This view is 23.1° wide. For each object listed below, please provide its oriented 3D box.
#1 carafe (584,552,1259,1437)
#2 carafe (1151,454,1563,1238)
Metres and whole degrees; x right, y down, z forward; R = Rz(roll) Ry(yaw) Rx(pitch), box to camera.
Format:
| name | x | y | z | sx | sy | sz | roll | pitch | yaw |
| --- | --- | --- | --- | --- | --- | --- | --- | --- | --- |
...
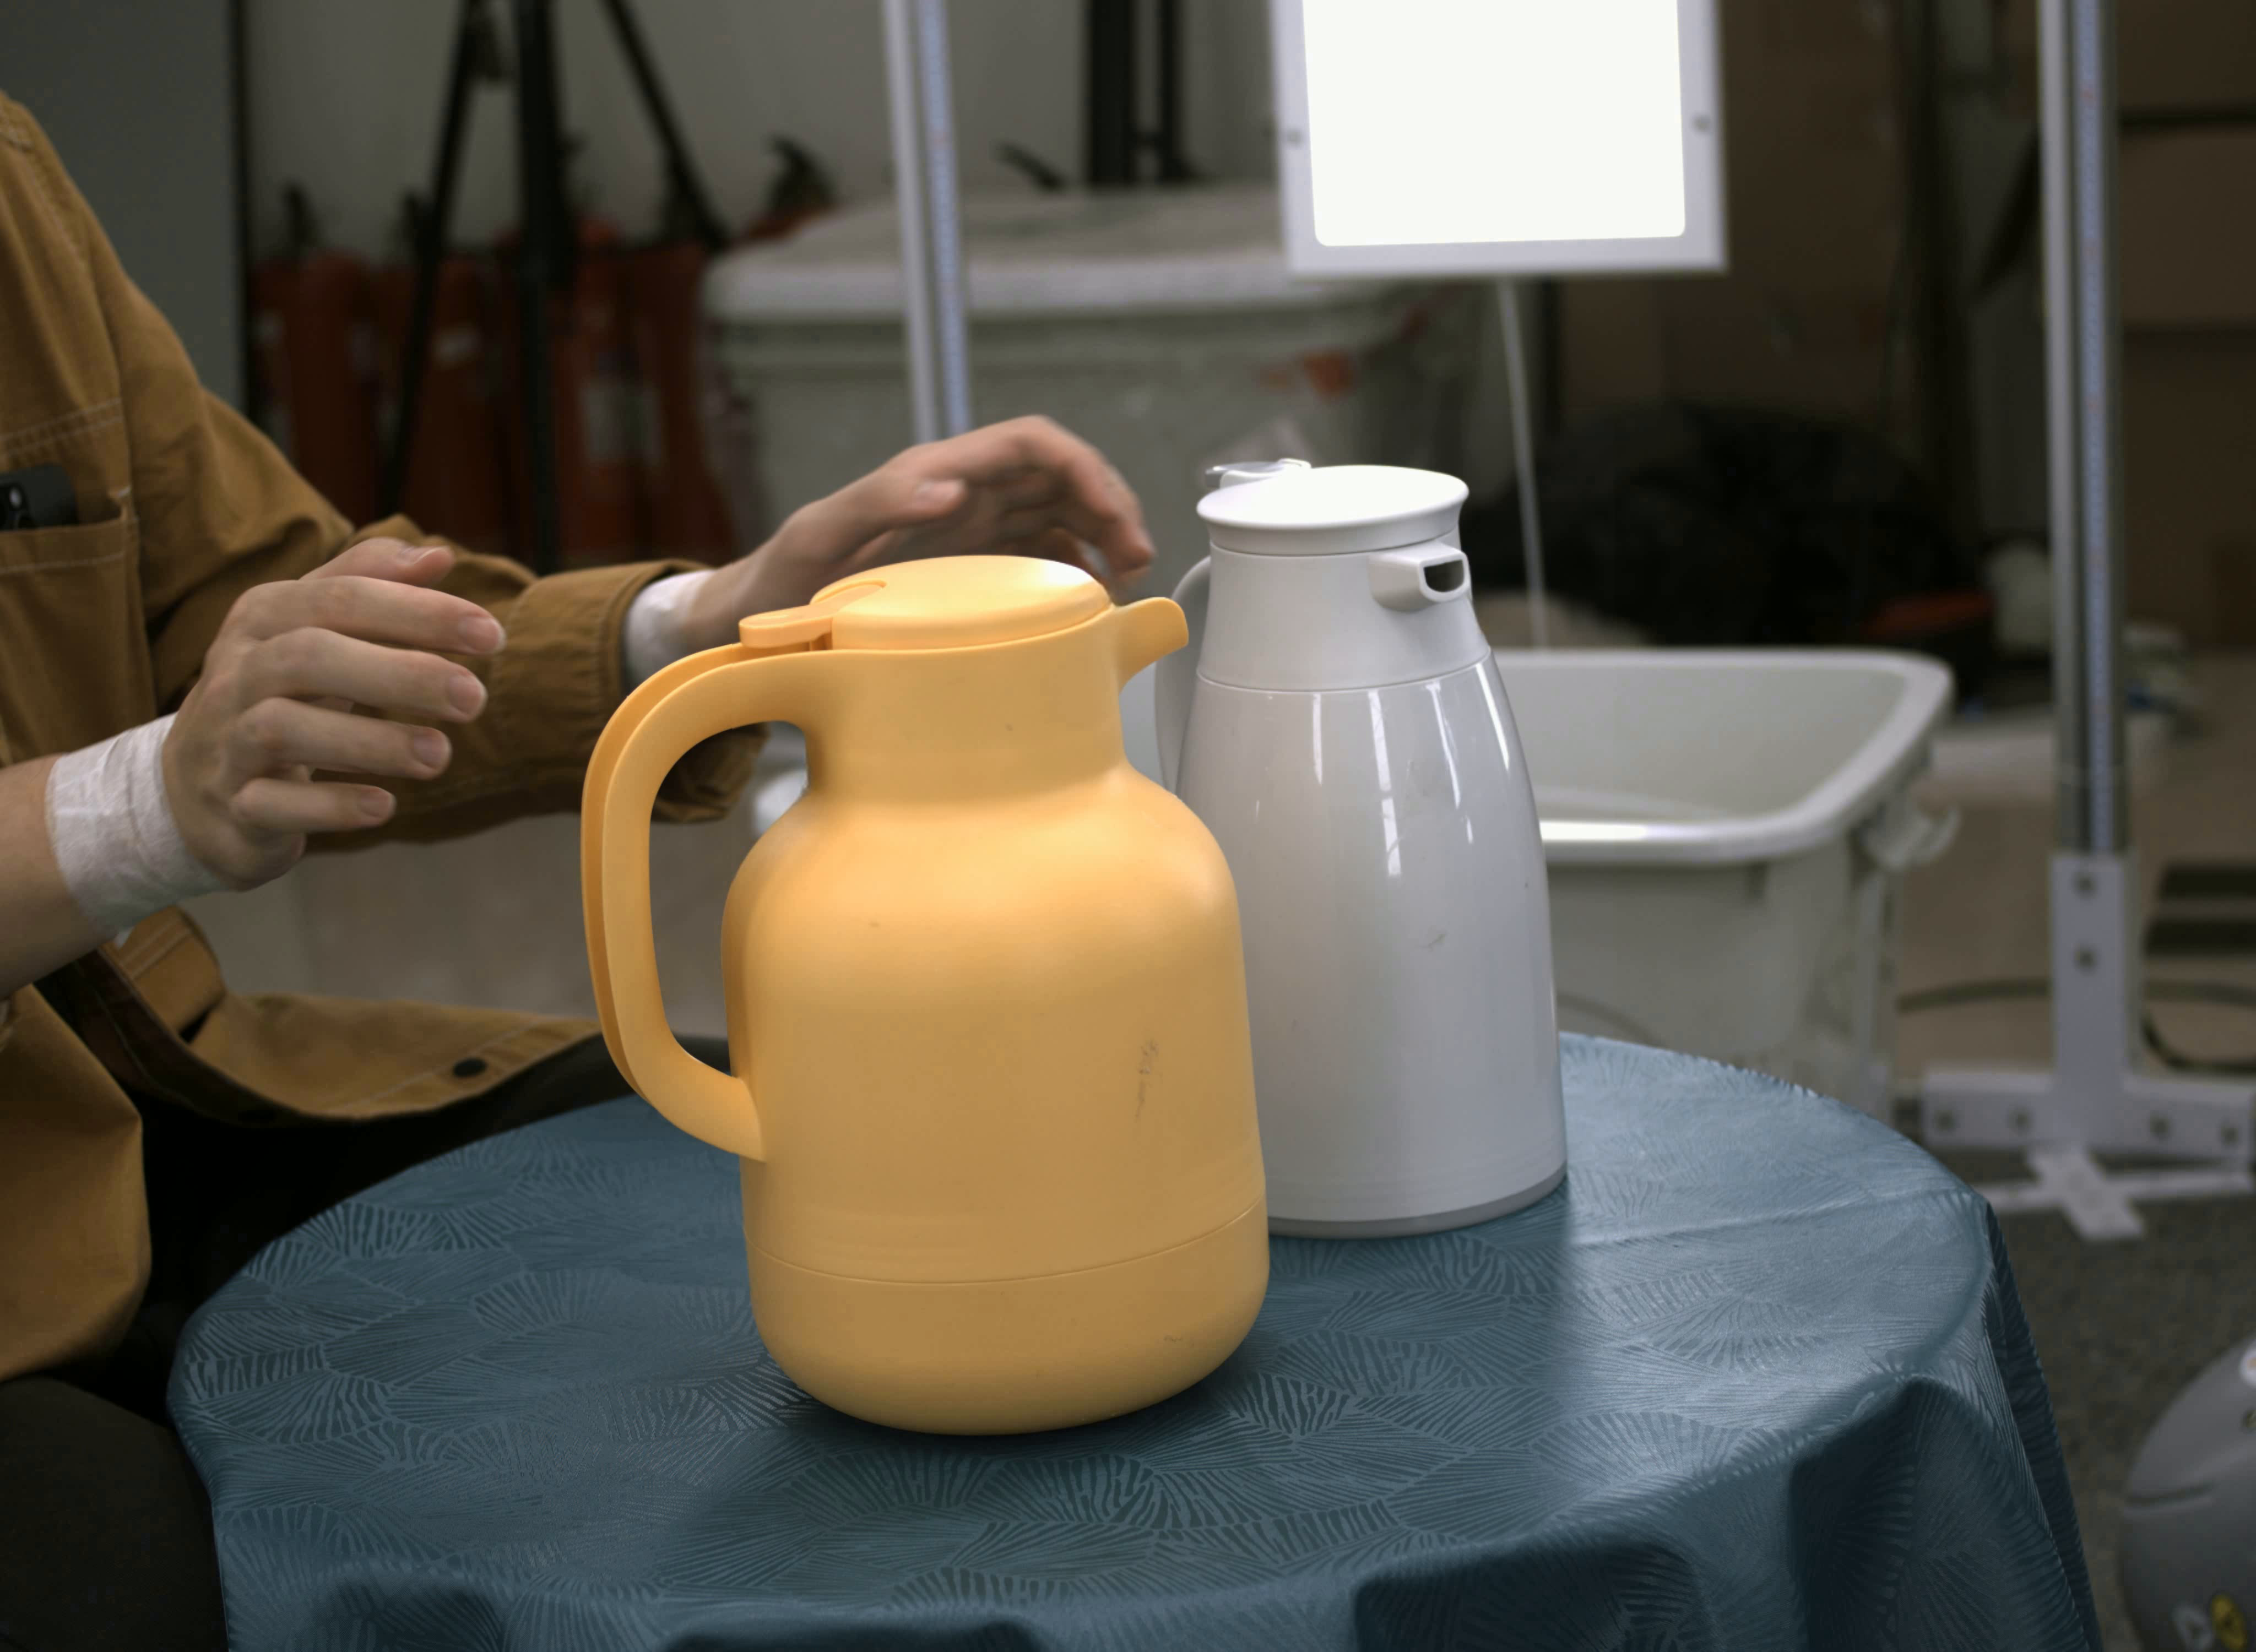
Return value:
| name | x | y | z | sx | sy | sz | roll | pitch | yaw |
| --- | --- | --- | --- | --- | --- | --- | --- | --- | --- |
| carafe | -0.064 | 0.050 | 1.691 | 0.199 | 0.261 | 0.165 | -7 | 12 | -15 |
| carafe | 0.064 | -0.001 | 1.873 | 0.129 | 0.249 | 0.171 | -13 | 16 | -31 |
